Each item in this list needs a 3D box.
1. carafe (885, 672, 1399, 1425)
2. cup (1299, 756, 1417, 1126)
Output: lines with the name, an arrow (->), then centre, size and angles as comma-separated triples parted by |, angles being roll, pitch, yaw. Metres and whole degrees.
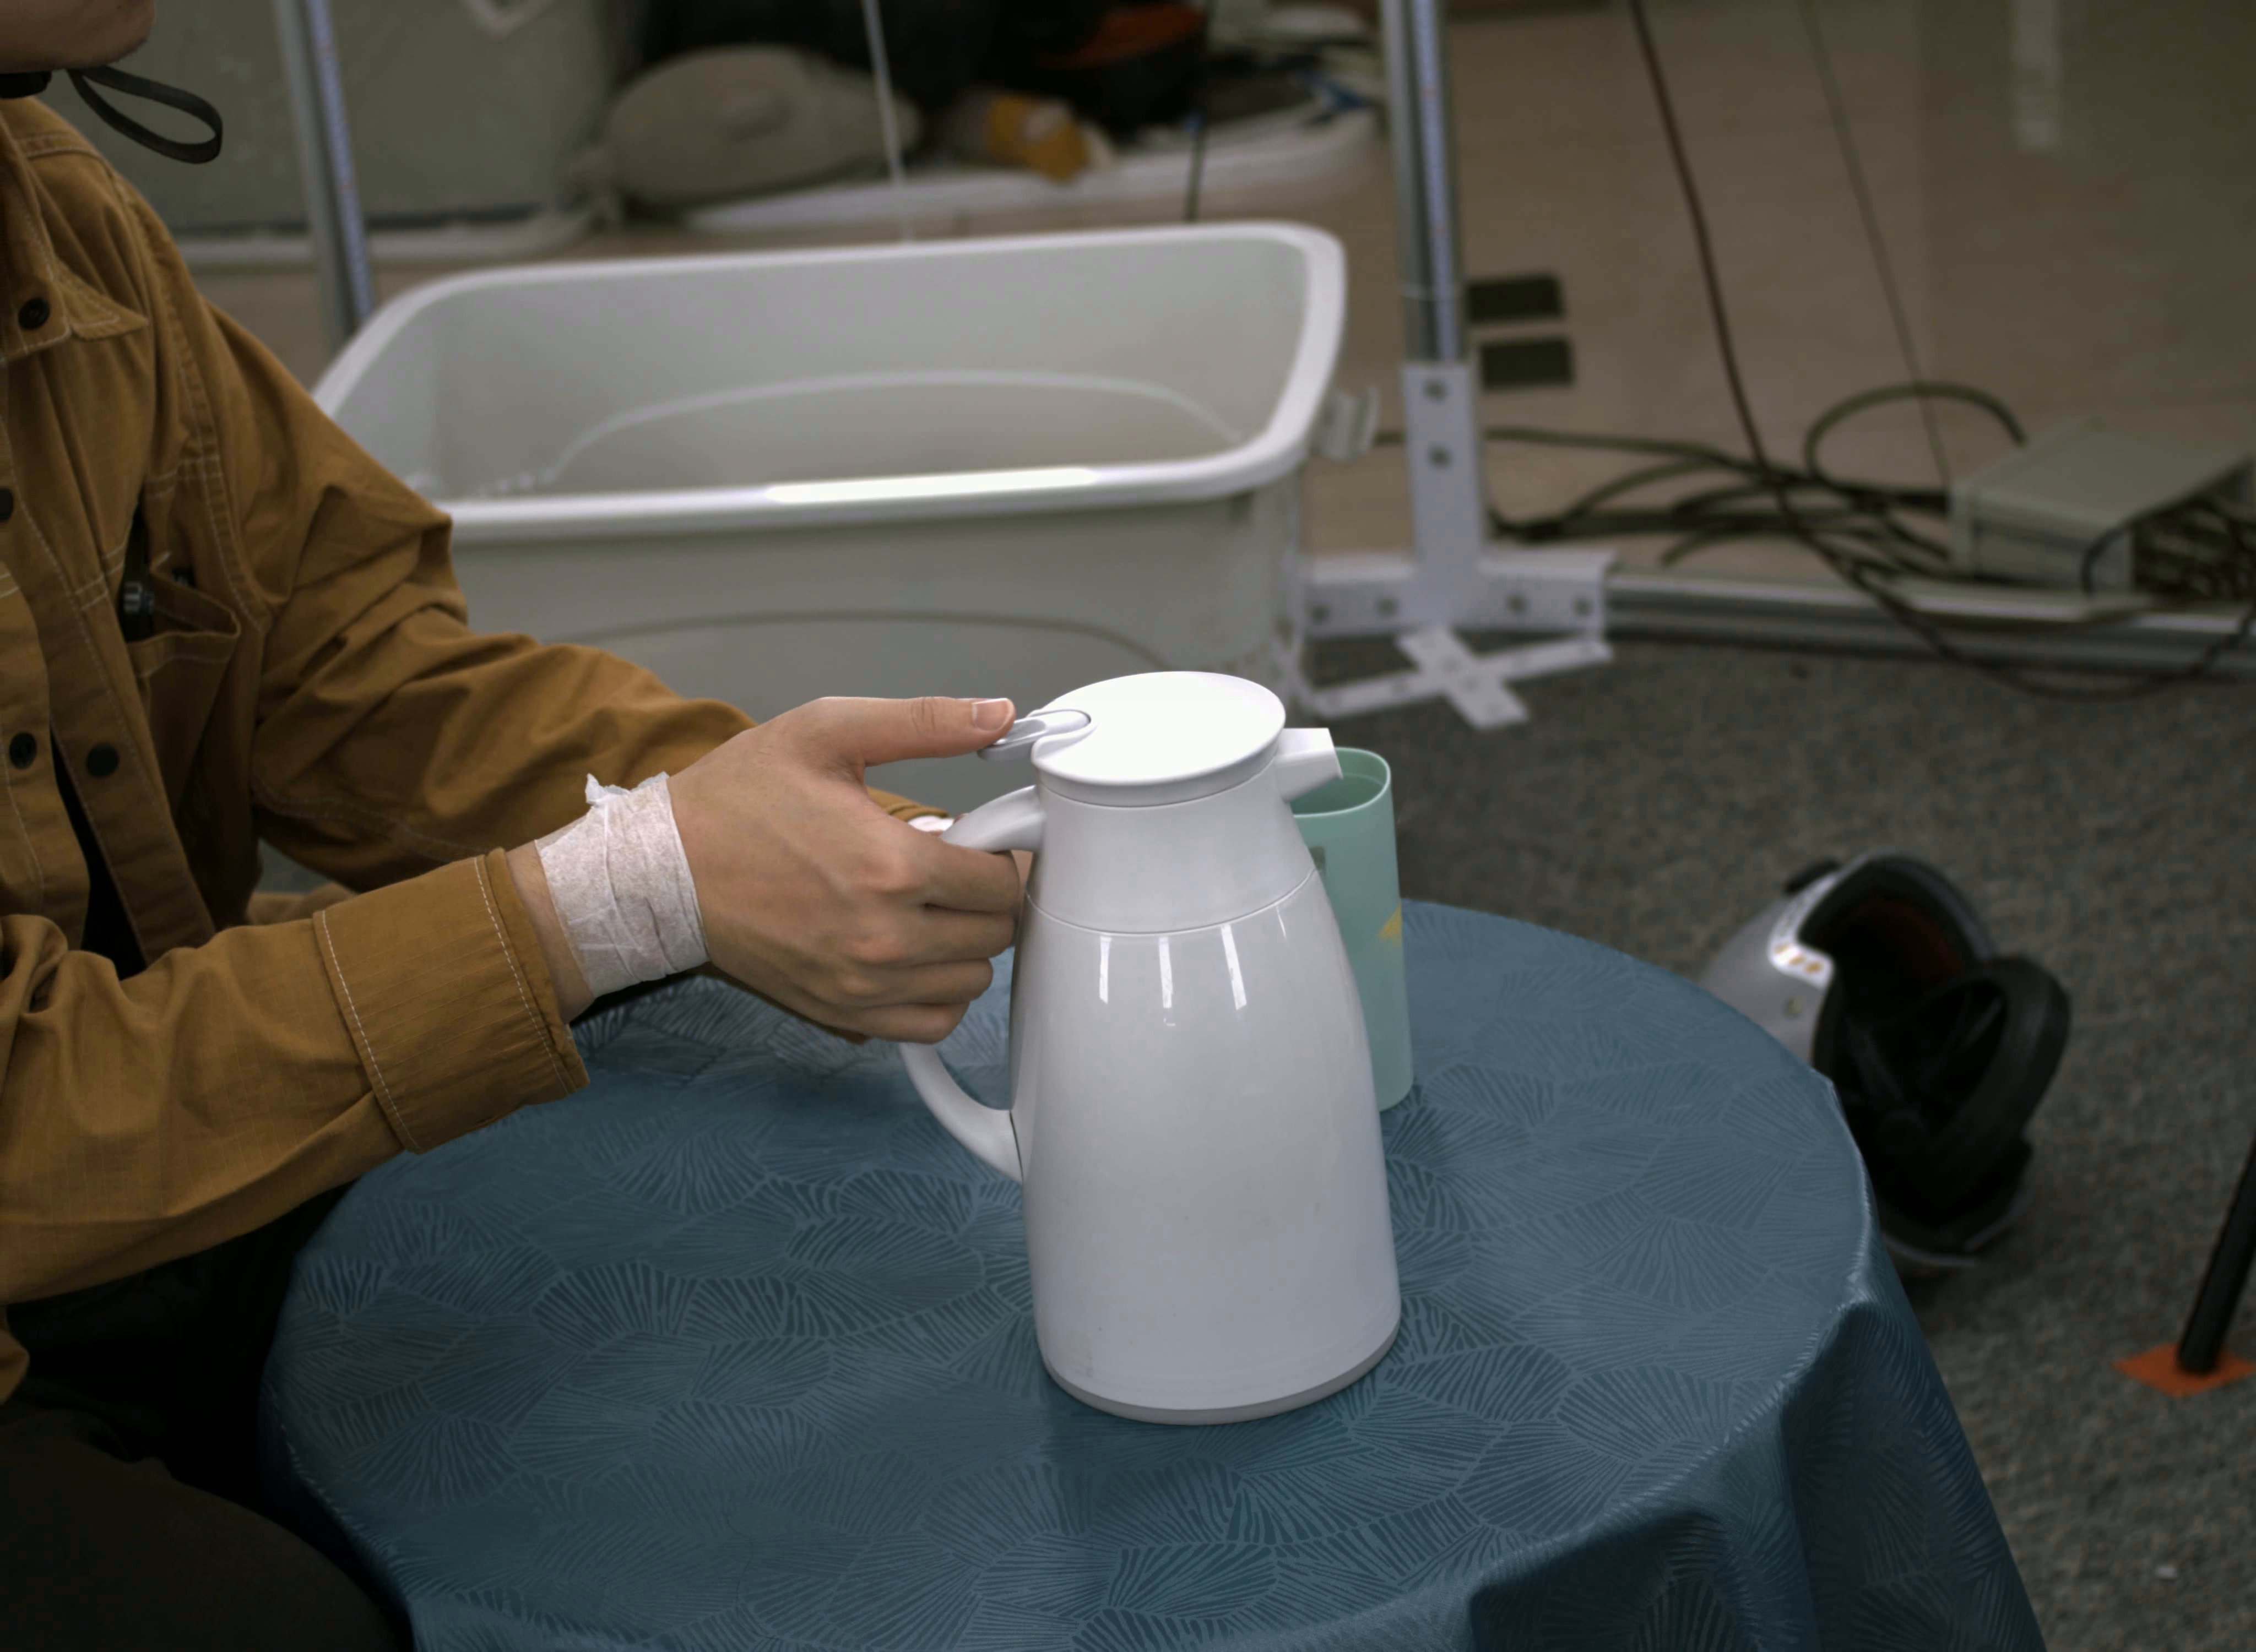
carafe -> 0.002, 0.074, 1.991 | 0.167, 0.252, 0.130 | -8, 26, -3
cup -> 0.075, 0.045, 2.184 | 0.066, 0.134, 0.066 | -4, 26, 2
